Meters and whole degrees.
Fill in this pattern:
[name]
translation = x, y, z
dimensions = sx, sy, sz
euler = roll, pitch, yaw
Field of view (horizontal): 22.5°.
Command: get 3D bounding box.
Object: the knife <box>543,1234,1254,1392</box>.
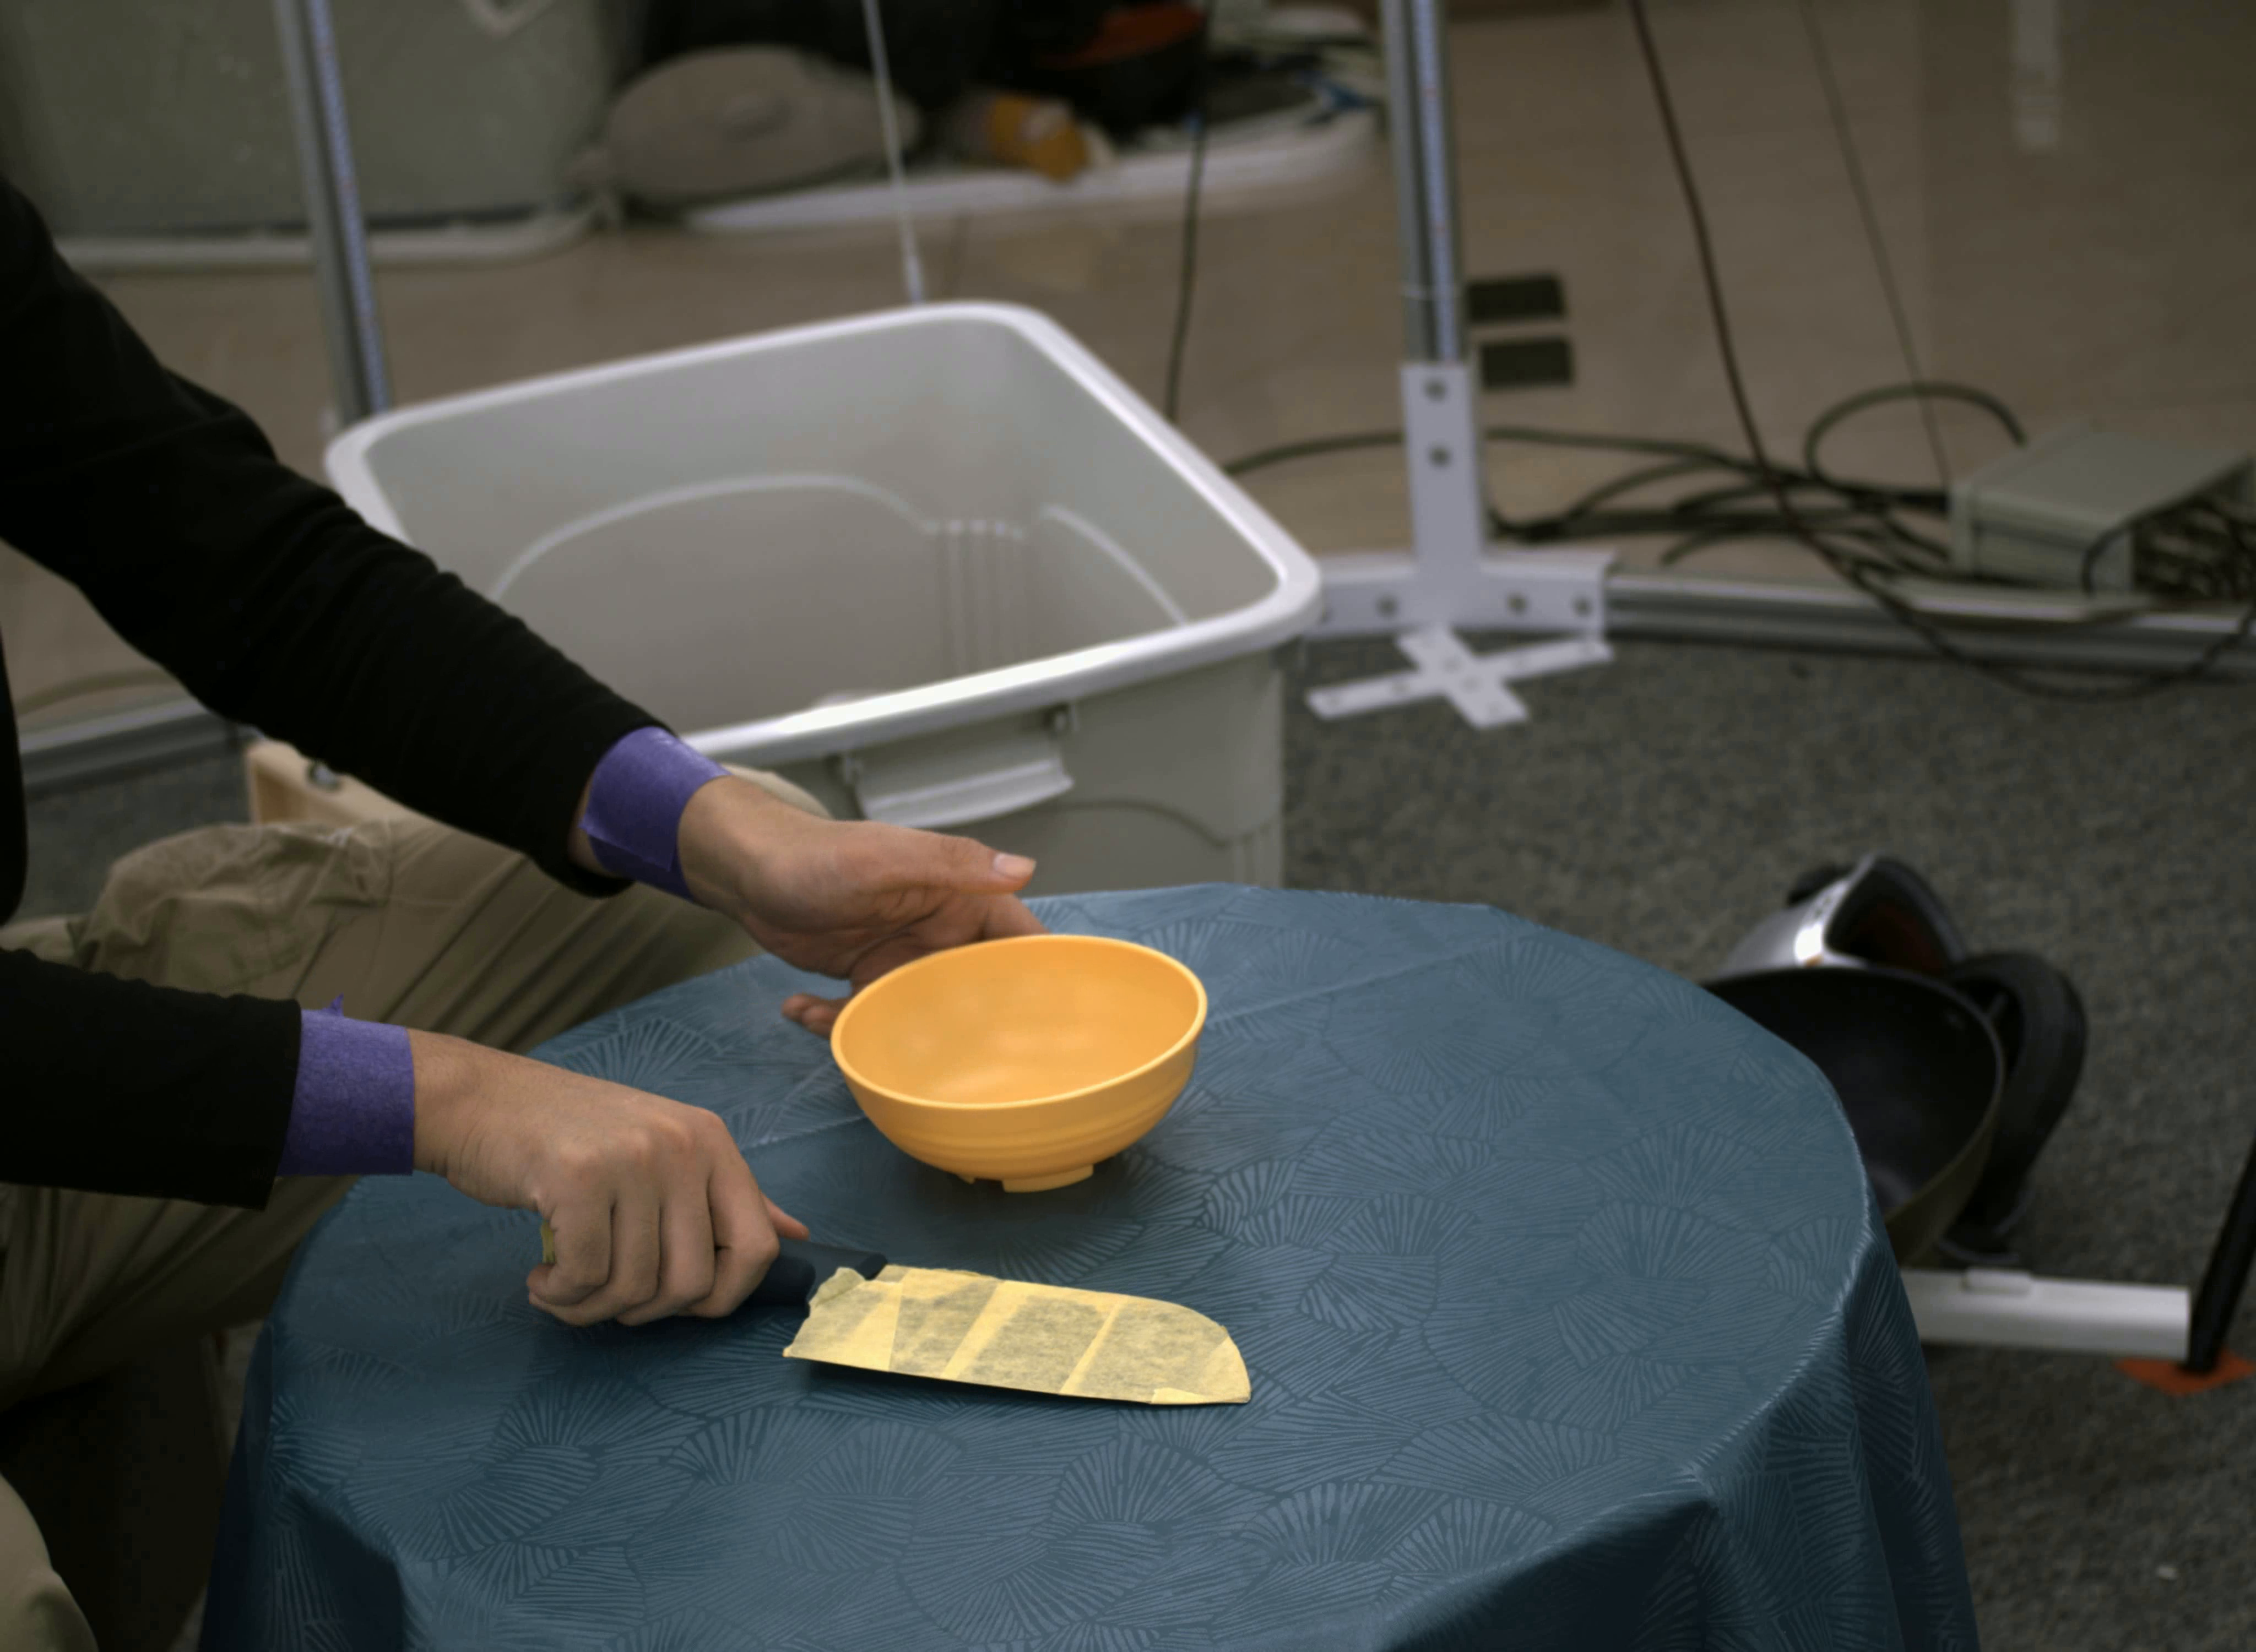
[knife]
translation = -0.089, 0.179, 2.068
dimensions = 0.288, 0.027, 0.080
euler = 5, 24, 21

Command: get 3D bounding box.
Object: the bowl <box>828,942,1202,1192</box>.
[bowl]
translation = -0.042, 0.100, 2.174
dimensions = 0.145, 0.061, 0.143
euler = -4, 24, 2
